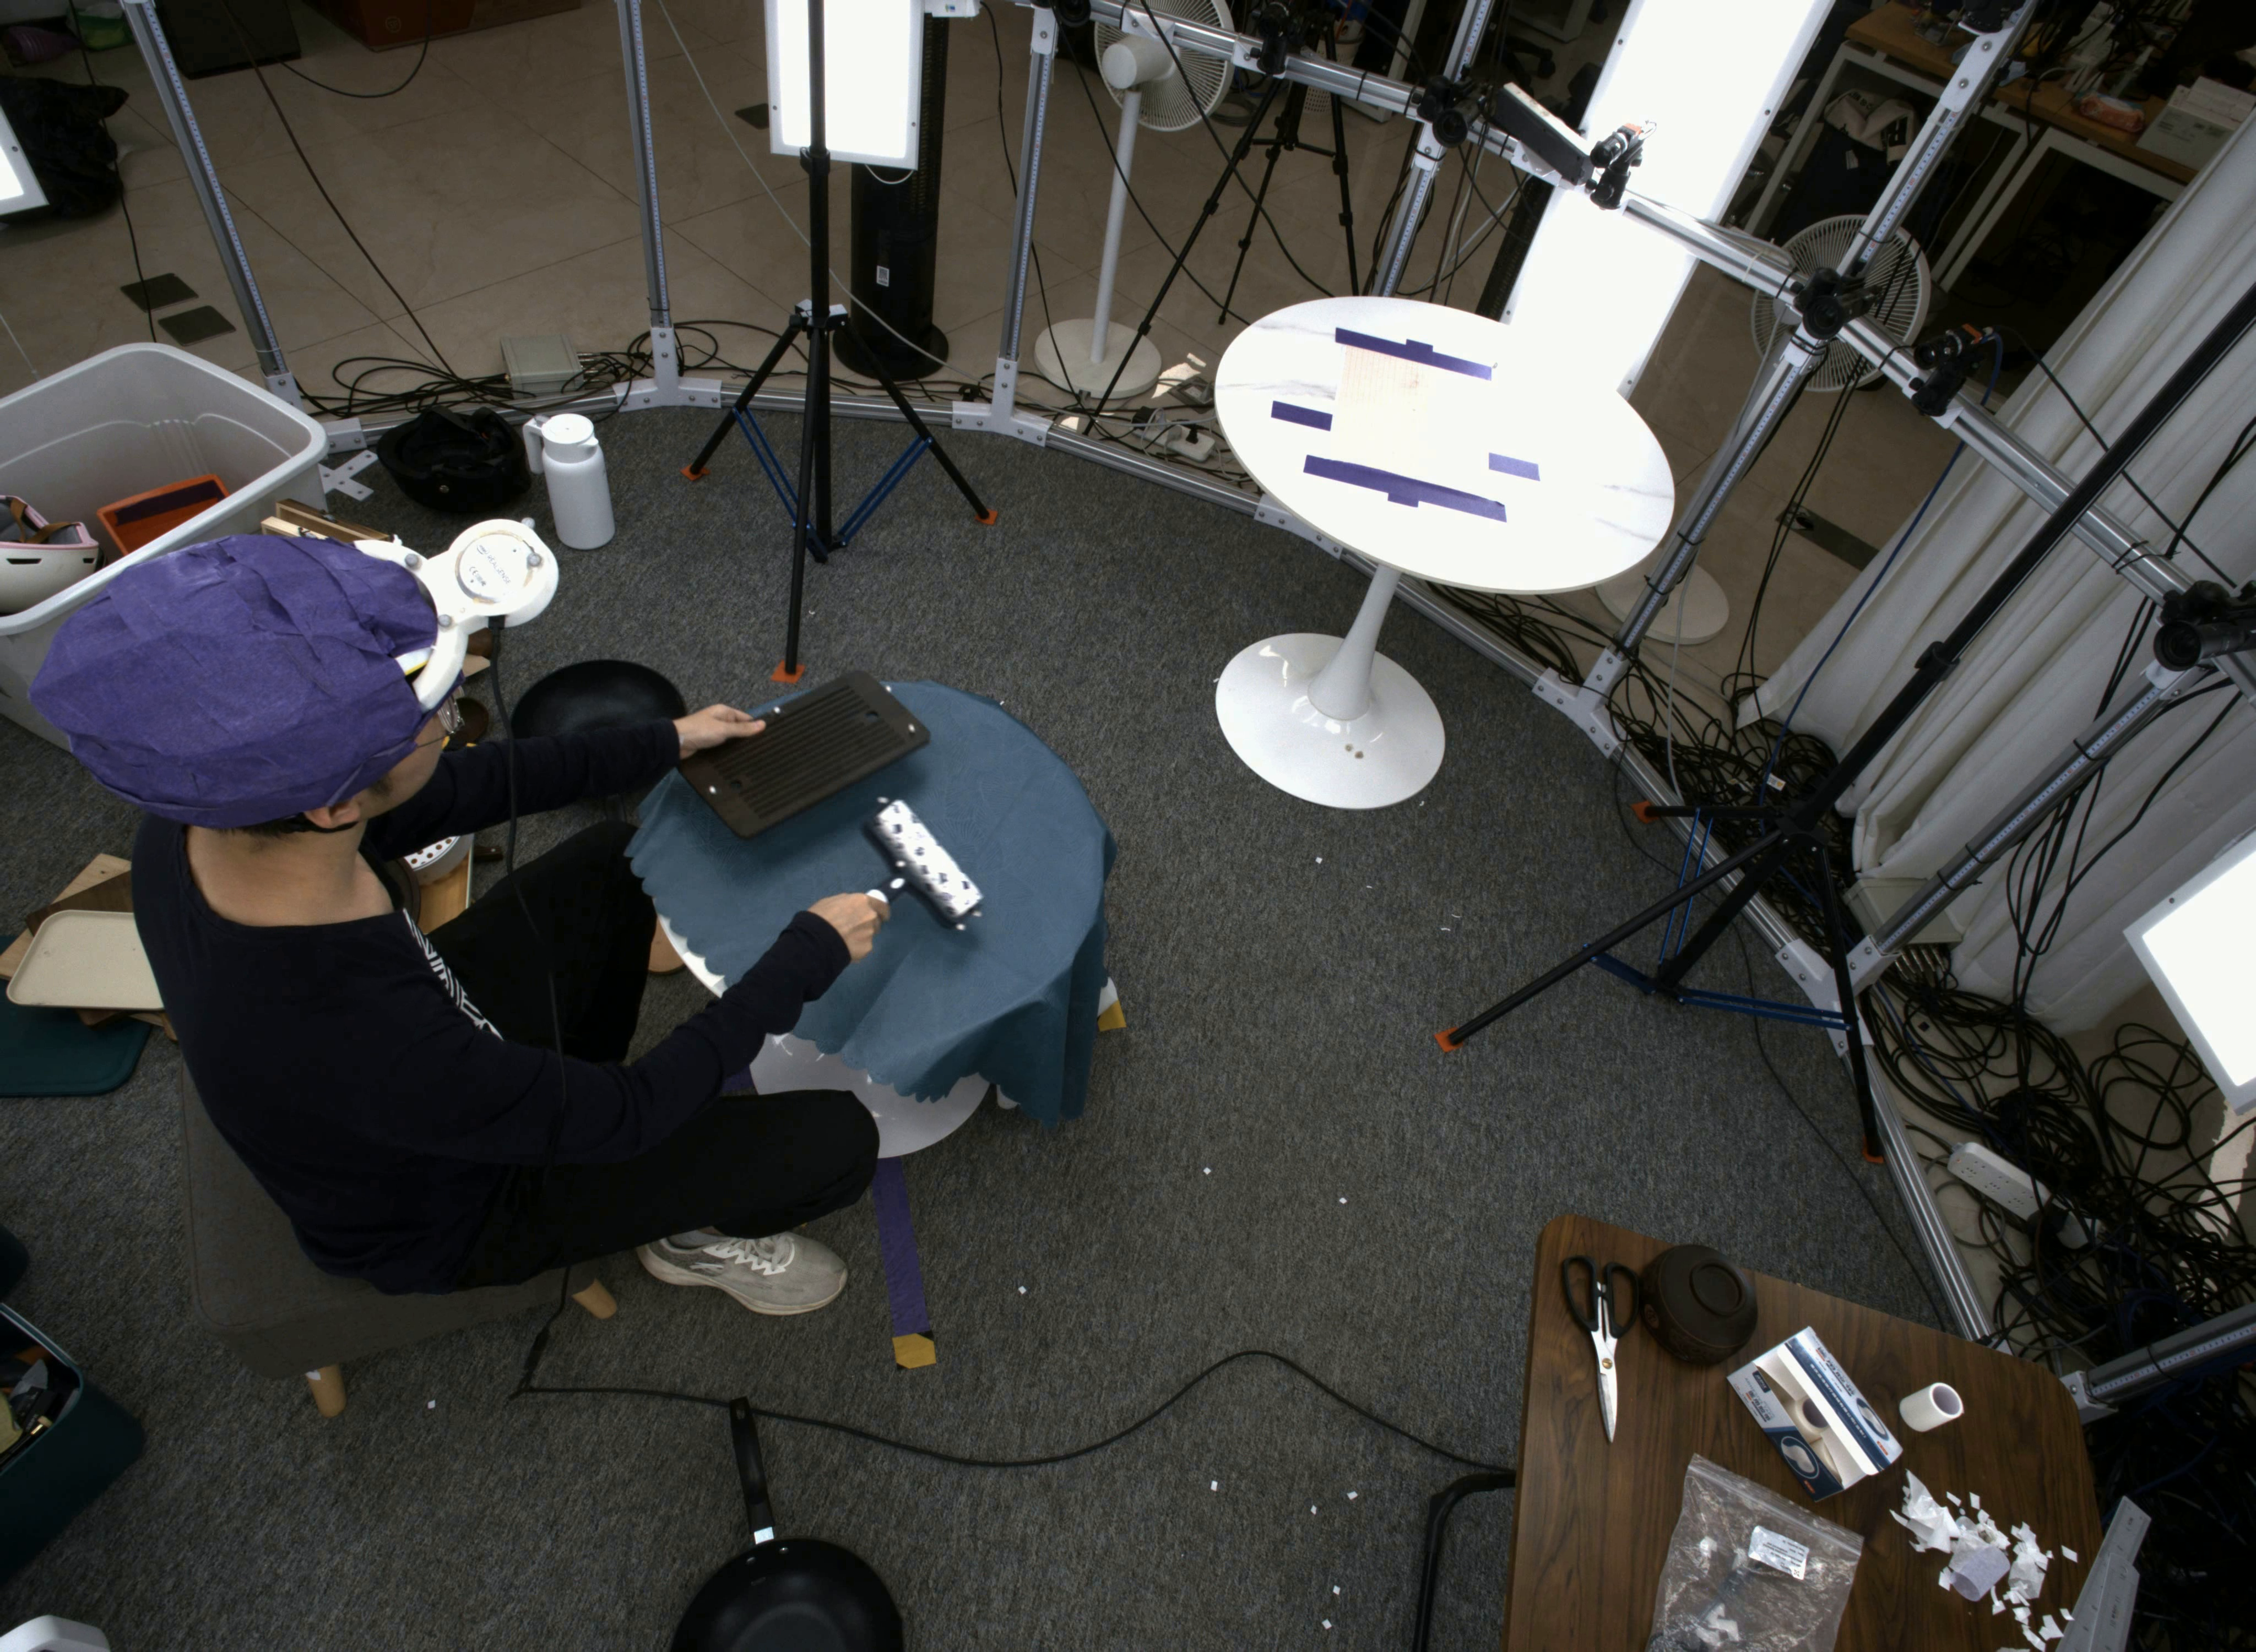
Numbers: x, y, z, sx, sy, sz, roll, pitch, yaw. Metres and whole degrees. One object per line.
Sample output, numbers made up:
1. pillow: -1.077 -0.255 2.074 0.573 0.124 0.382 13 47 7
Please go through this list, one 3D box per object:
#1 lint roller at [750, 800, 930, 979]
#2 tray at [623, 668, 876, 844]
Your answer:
1. lint roller: -0.362 0.096 1.551 0.179 0.050 0.246 49 43 -10
2. tray: -0.499 -0.097 1.710 0.165 0.019 0.306 40 55 21
